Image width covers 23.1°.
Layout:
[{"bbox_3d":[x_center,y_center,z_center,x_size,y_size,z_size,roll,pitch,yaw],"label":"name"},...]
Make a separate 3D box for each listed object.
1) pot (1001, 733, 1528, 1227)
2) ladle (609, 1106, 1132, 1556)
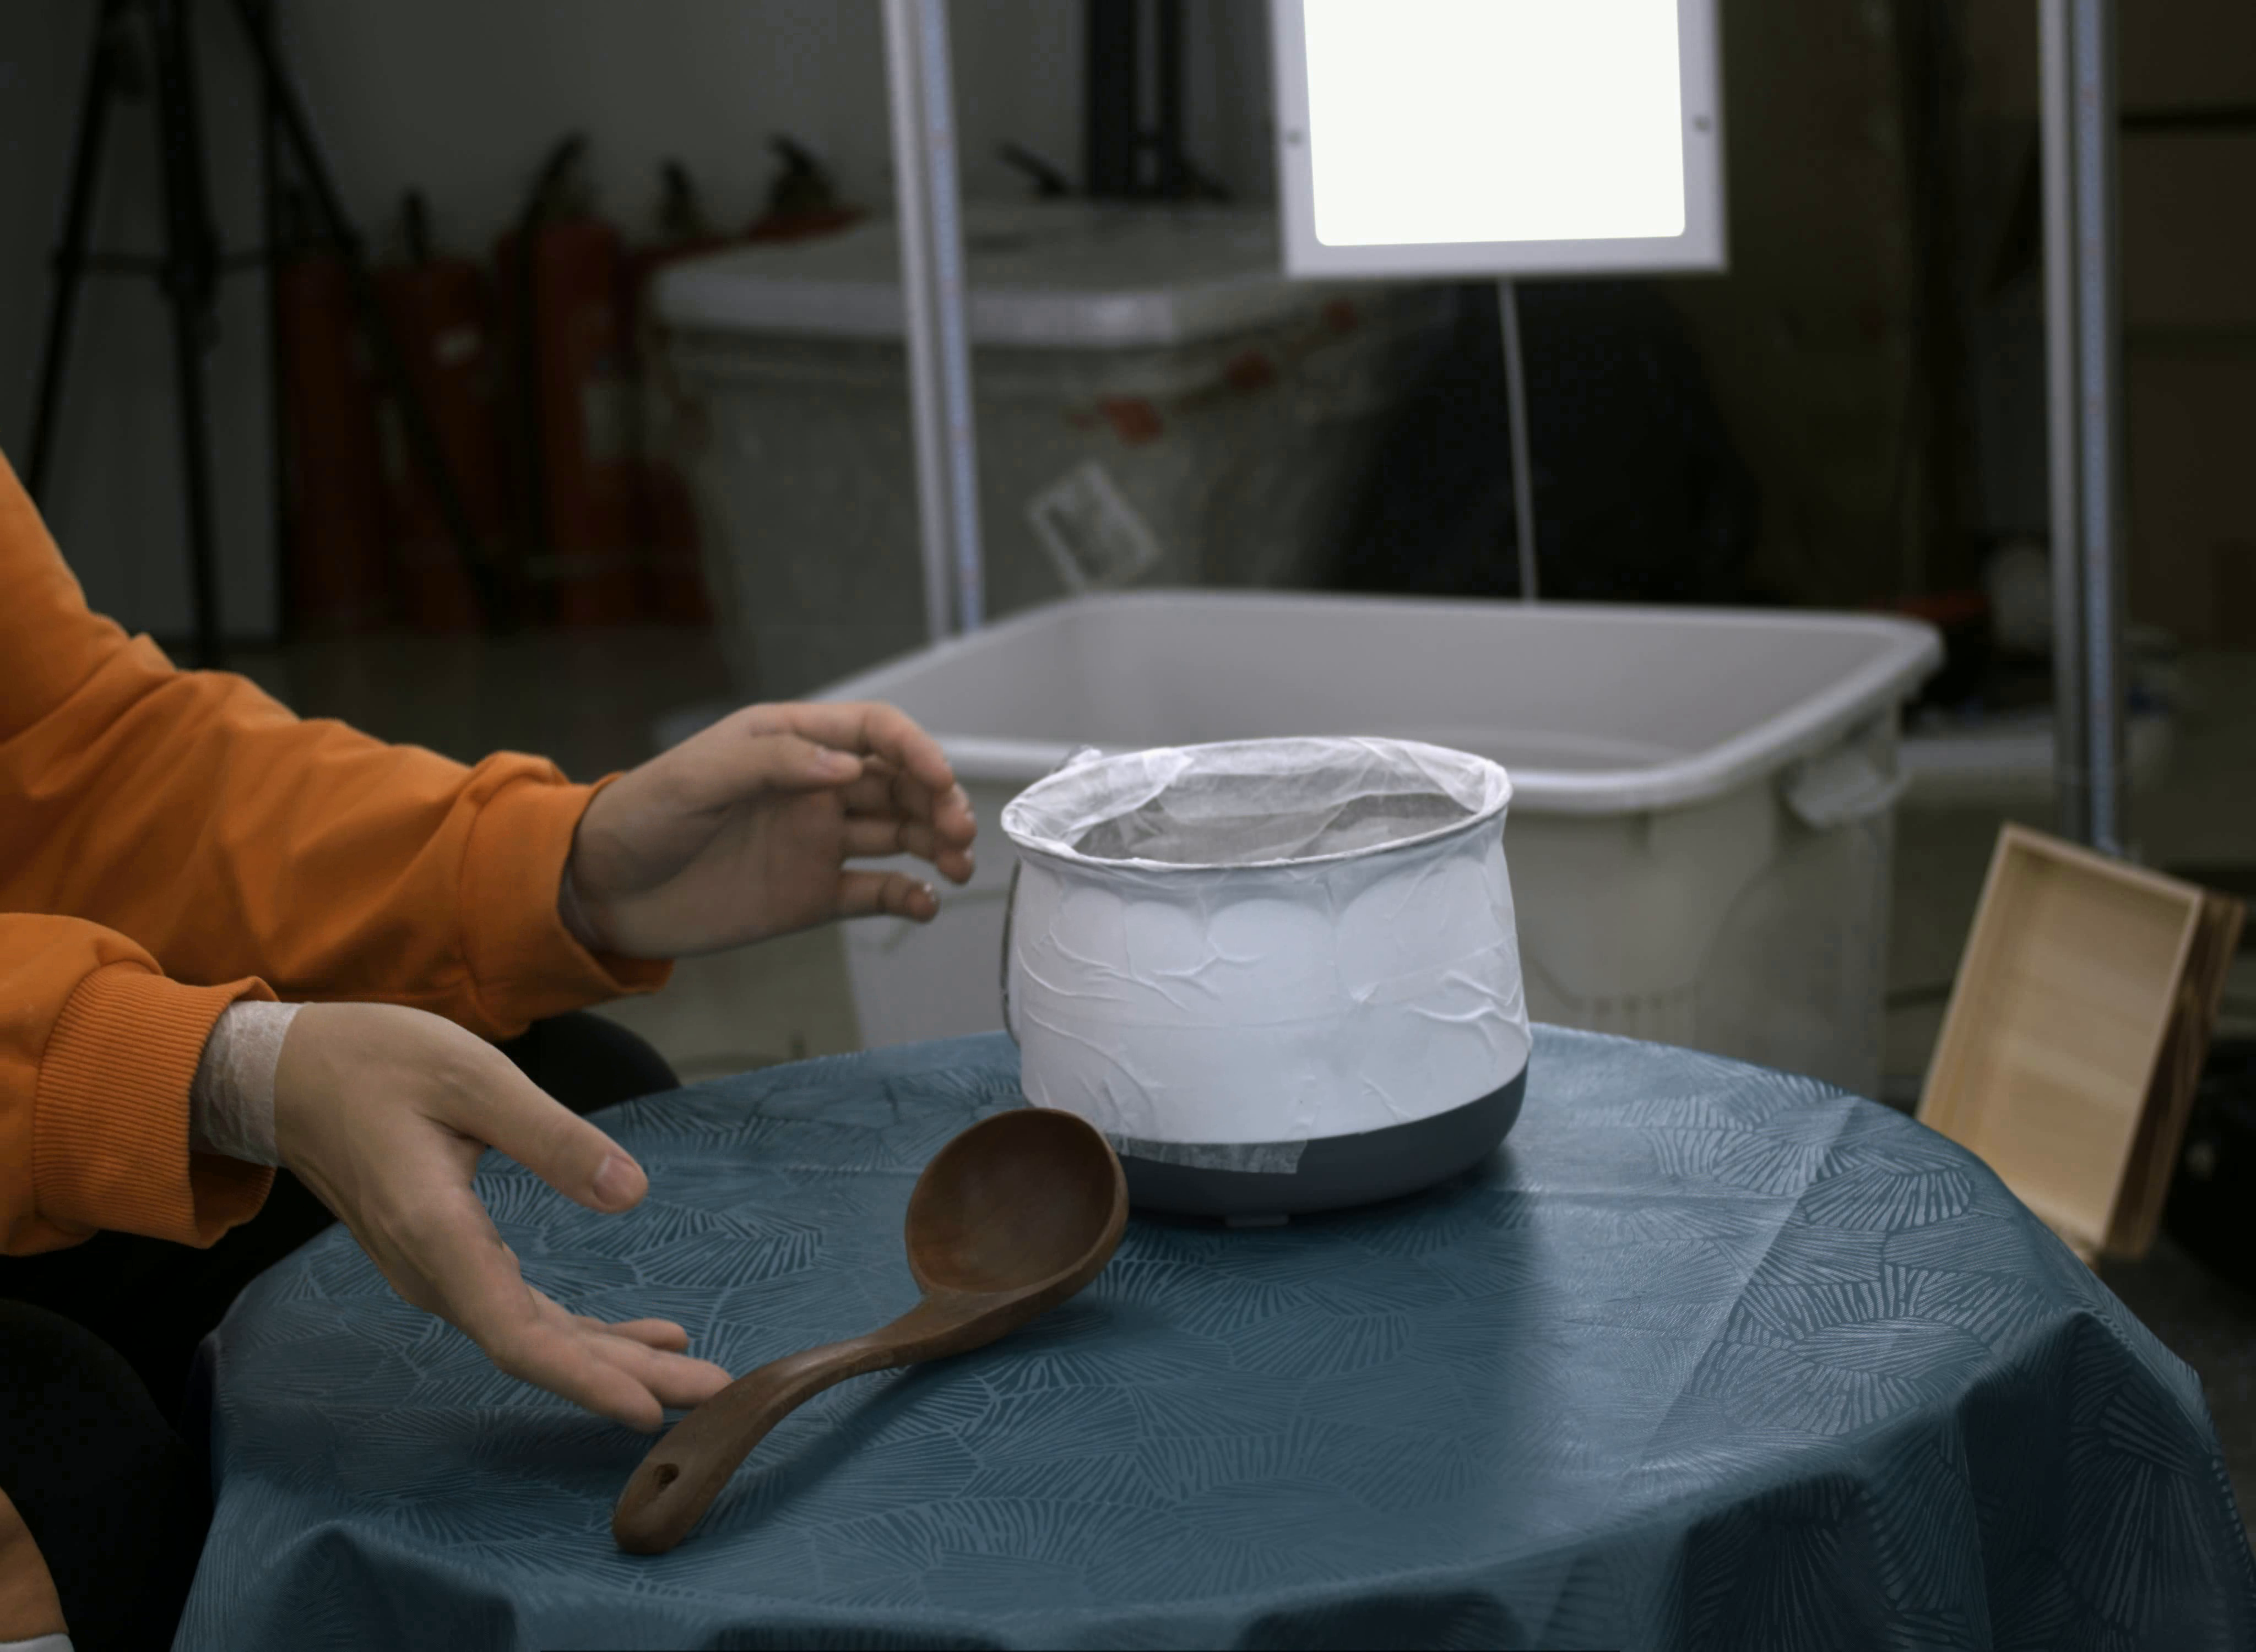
[{"bbox_3d":[0.032,0.047,1.918,0.174,0.137,0.238,-14,17,-35],"label":"pot"},{"bbox_3d":[-0.083,0.151,1.696,0.078,0.065,0.254,1,14,32],"label":"ladle"}]
